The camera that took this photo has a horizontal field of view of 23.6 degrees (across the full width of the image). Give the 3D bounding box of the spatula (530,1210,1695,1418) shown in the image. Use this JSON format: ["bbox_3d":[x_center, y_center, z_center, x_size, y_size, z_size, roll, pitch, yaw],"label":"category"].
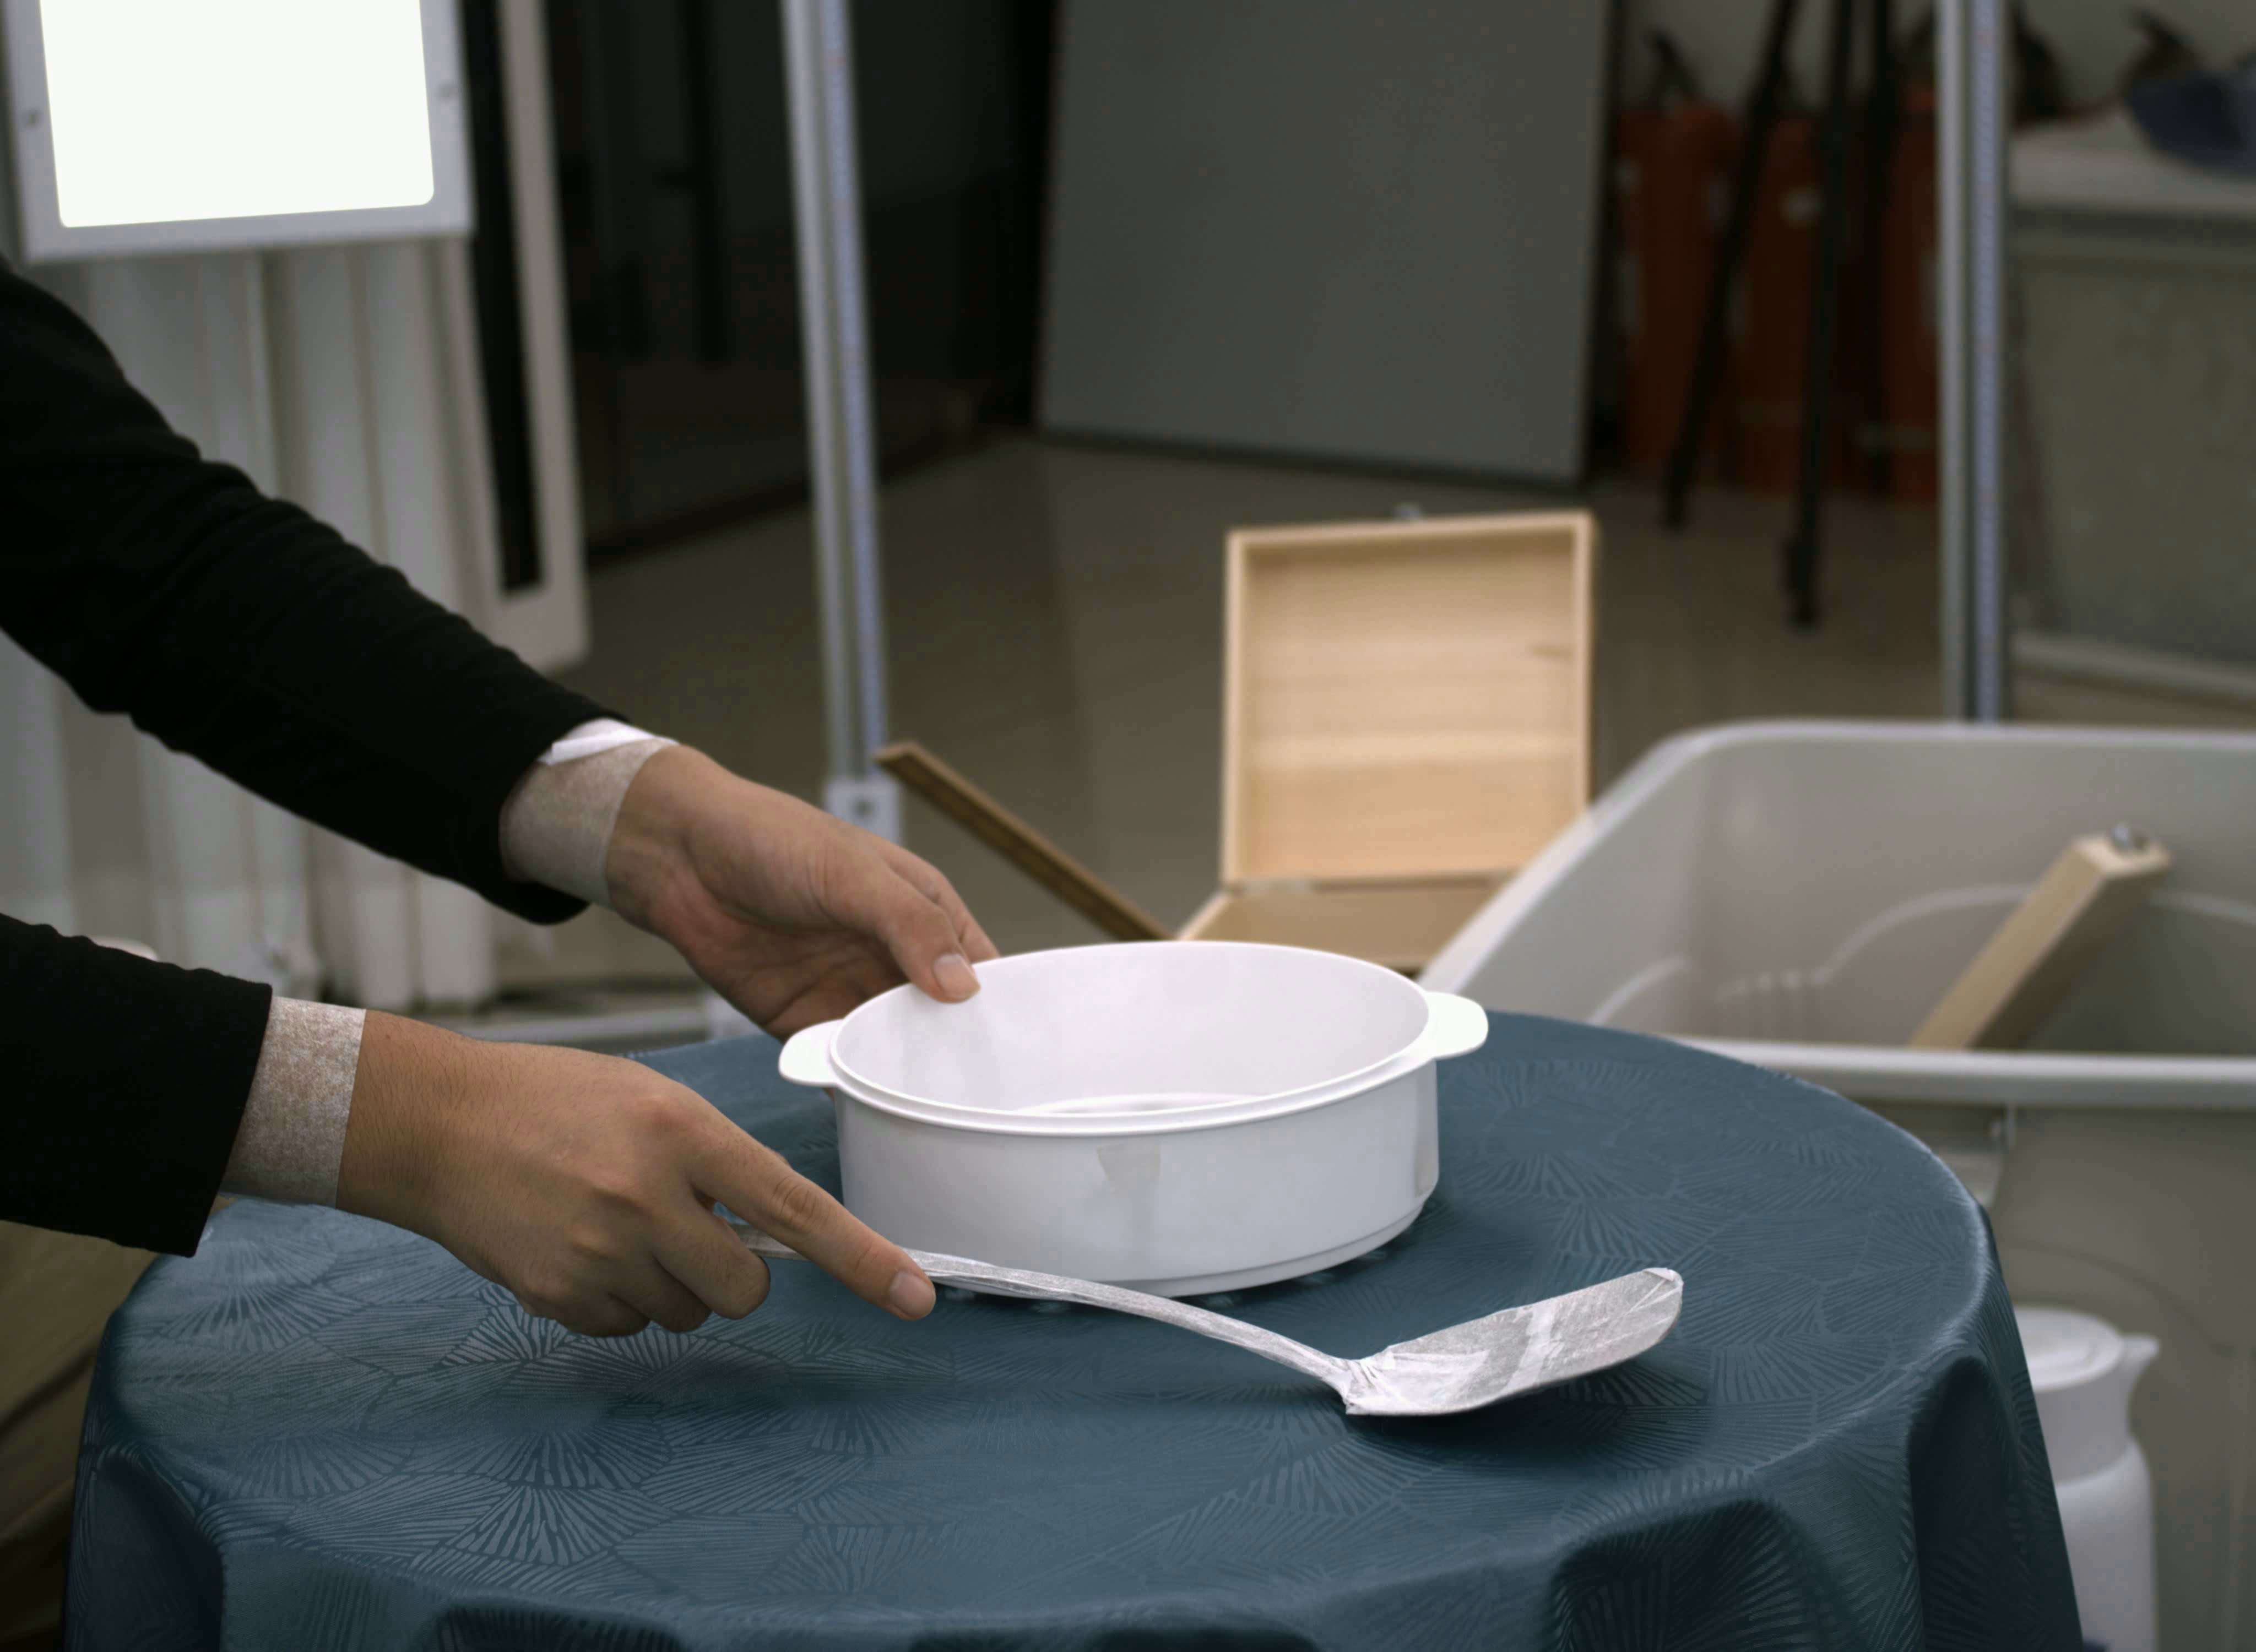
[{"bbox_3d":[-0.014,0.132,1.591,0.364,0.045,0.098,8,18,17],"label":"spatula"}]

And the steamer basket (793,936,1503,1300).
[{"bbox_3d":[0.008,0.093,1.730,0.228,0.070,0.202,-4,14,5],"label":"steamer basket"}]
